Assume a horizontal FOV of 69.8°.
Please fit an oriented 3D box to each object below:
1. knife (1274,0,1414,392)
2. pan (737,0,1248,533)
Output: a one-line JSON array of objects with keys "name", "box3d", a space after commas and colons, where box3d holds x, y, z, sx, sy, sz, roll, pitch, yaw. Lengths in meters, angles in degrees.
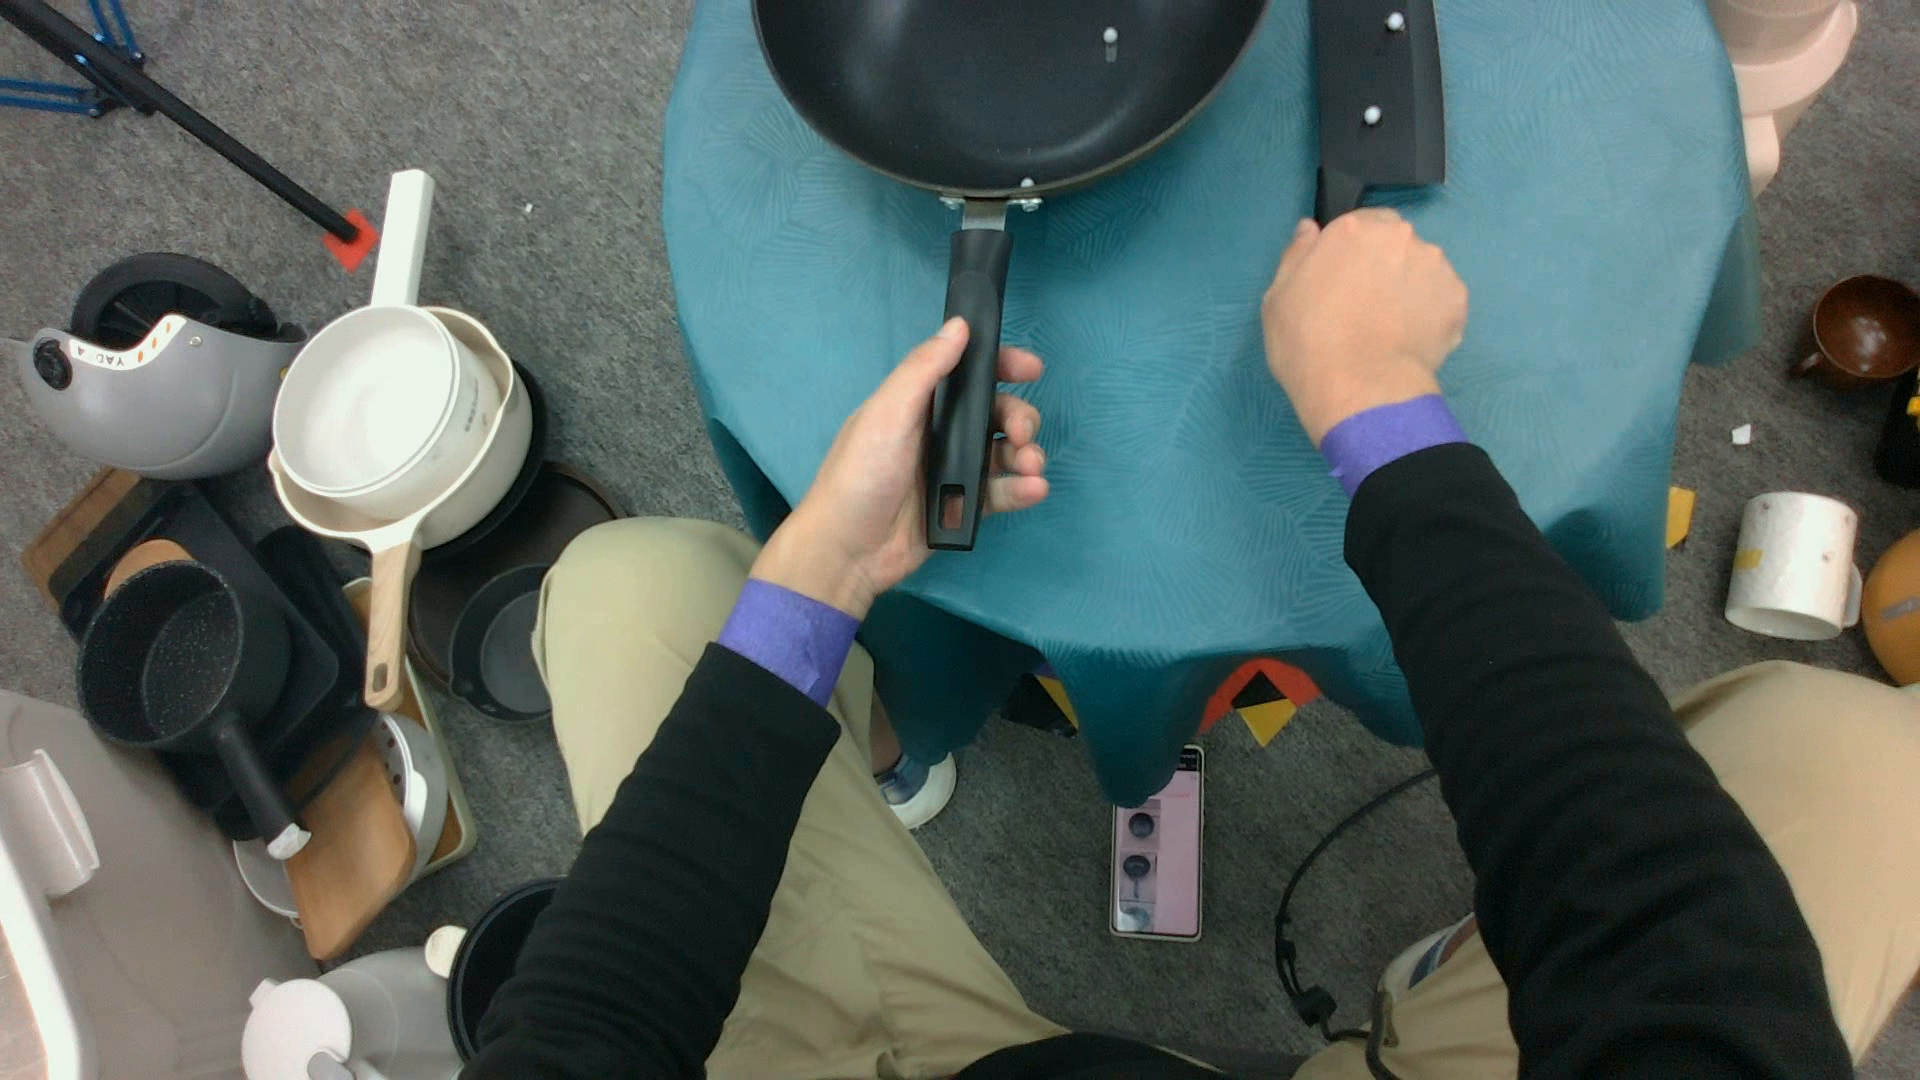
[{"name": "knife", "box3d": [0.209, -0.221, 0.755, 0.081, 0.021, 0.303, 6, 72, 8]}, {"name": "pan", "box3d": [0.012, -0.220, 0.753, 0.288, 0.087, 0.464, 3, 76, 9]}]
